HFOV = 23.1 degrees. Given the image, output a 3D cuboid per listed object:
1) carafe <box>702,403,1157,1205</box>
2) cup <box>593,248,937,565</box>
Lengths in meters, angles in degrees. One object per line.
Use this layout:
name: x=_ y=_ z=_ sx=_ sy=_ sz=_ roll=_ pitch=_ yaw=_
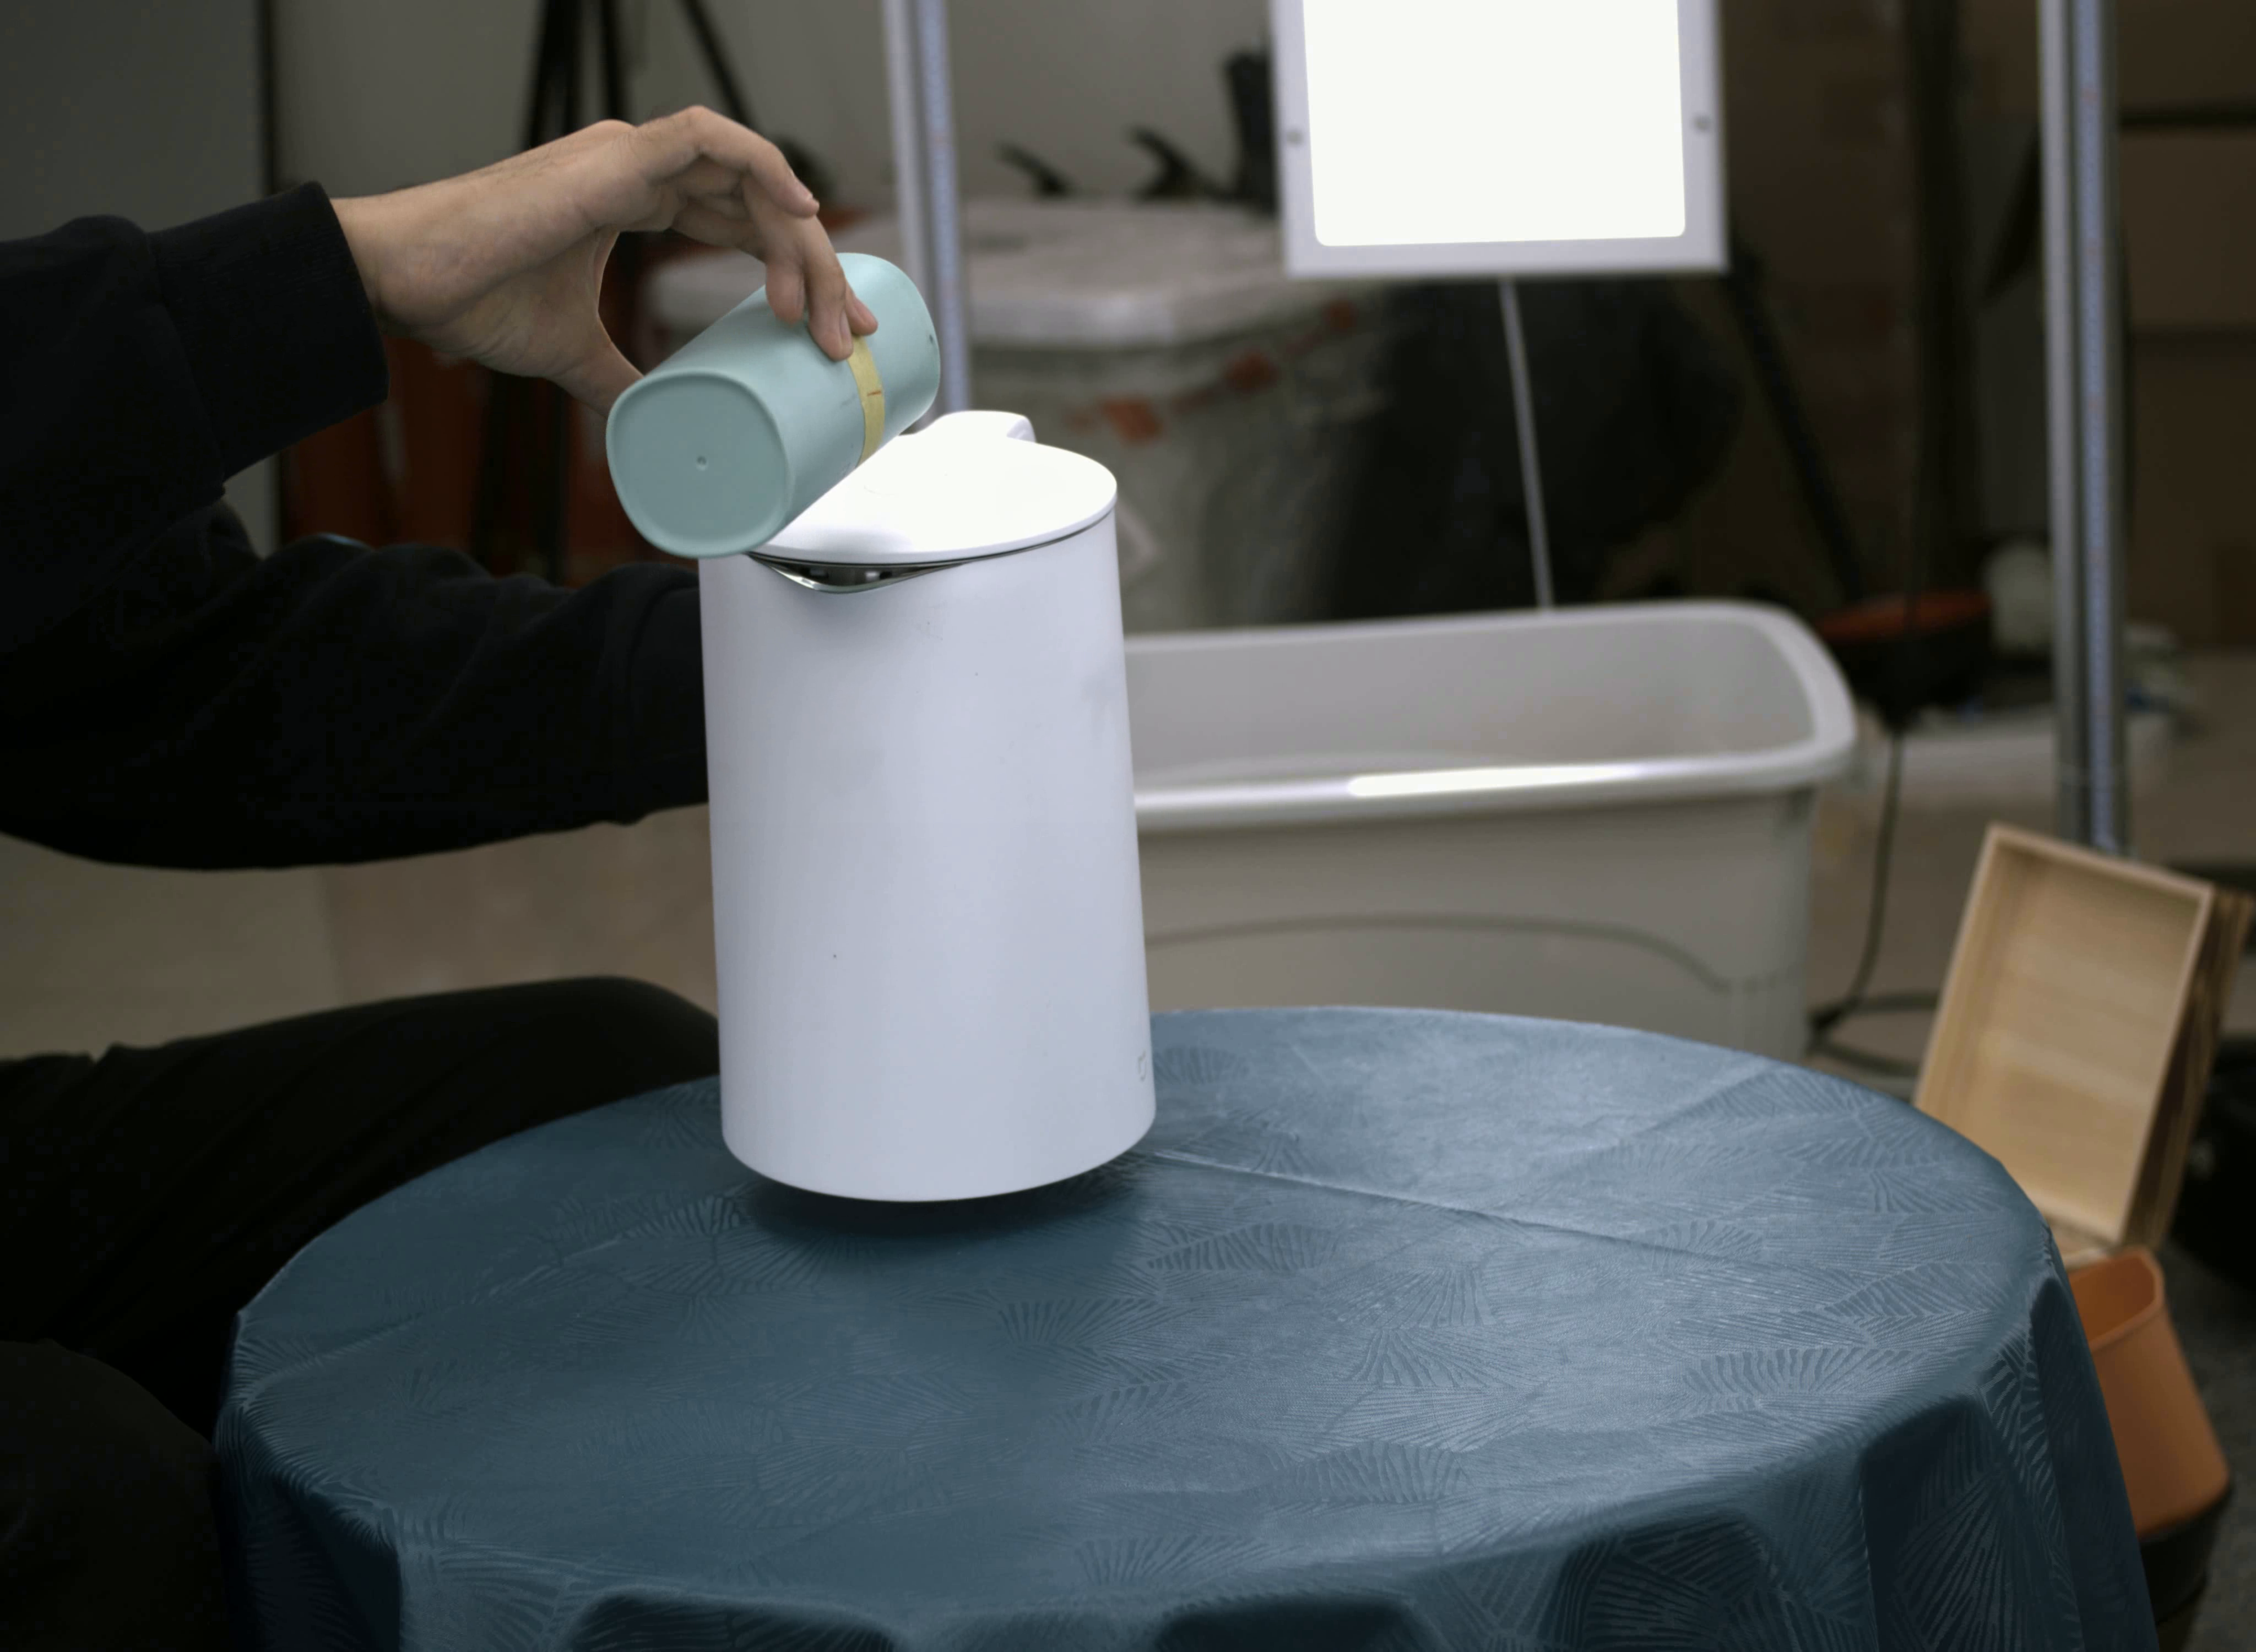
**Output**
carafe: x=-0.062 y=-0.014 z=1.912 sx=0.153 sy=0.241 sz=0.210 roll=3 pitch=21 yaw=15
cup: x=-0.114 y=-0.133 z=1.734 sx=0.068 sy=0.067 sz=0.130 roll=1 pitch=23 yaw=22
